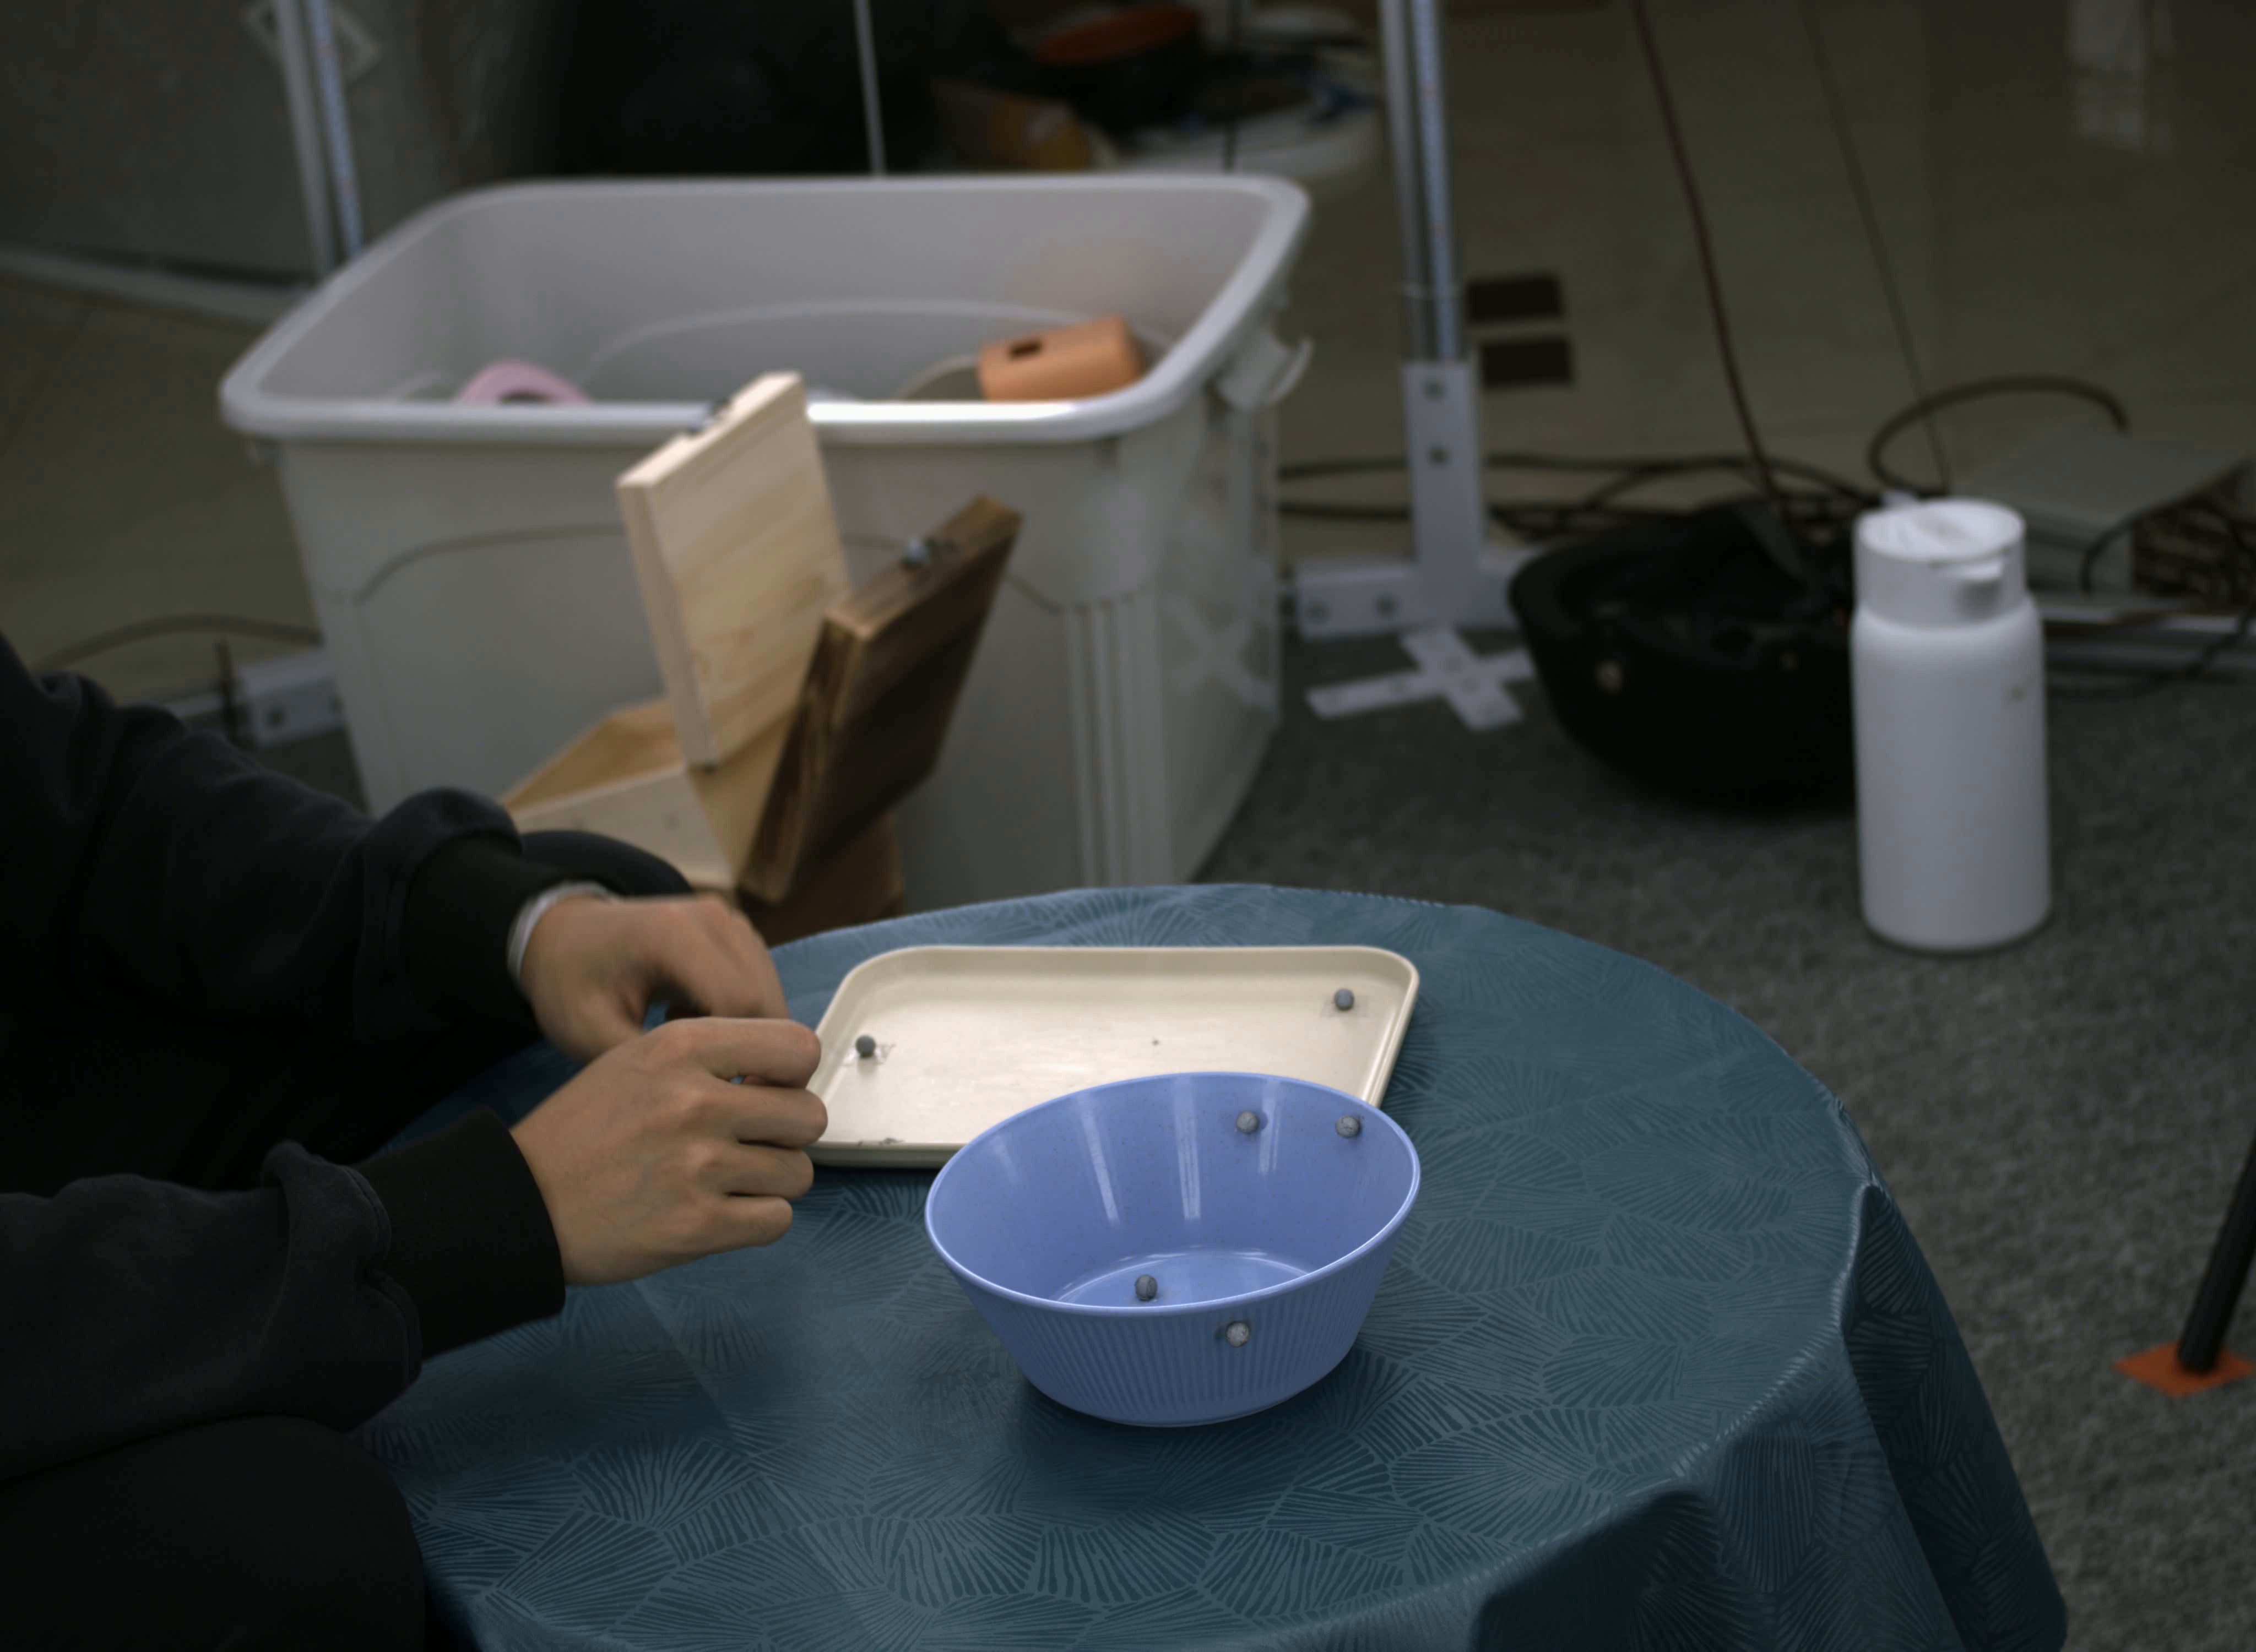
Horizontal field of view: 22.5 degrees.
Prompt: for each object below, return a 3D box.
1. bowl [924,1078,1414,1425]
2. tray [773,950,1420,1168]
[{"bbox_3d":[0.017,0.158,2.024,0.176,0.071,0.173,-5,25,2],"label":"bowl"},{"bbox_3d":[-0.010,0.093,2.234,0.239,0.018,0.169,0,25,13],"label":"tray"}]
